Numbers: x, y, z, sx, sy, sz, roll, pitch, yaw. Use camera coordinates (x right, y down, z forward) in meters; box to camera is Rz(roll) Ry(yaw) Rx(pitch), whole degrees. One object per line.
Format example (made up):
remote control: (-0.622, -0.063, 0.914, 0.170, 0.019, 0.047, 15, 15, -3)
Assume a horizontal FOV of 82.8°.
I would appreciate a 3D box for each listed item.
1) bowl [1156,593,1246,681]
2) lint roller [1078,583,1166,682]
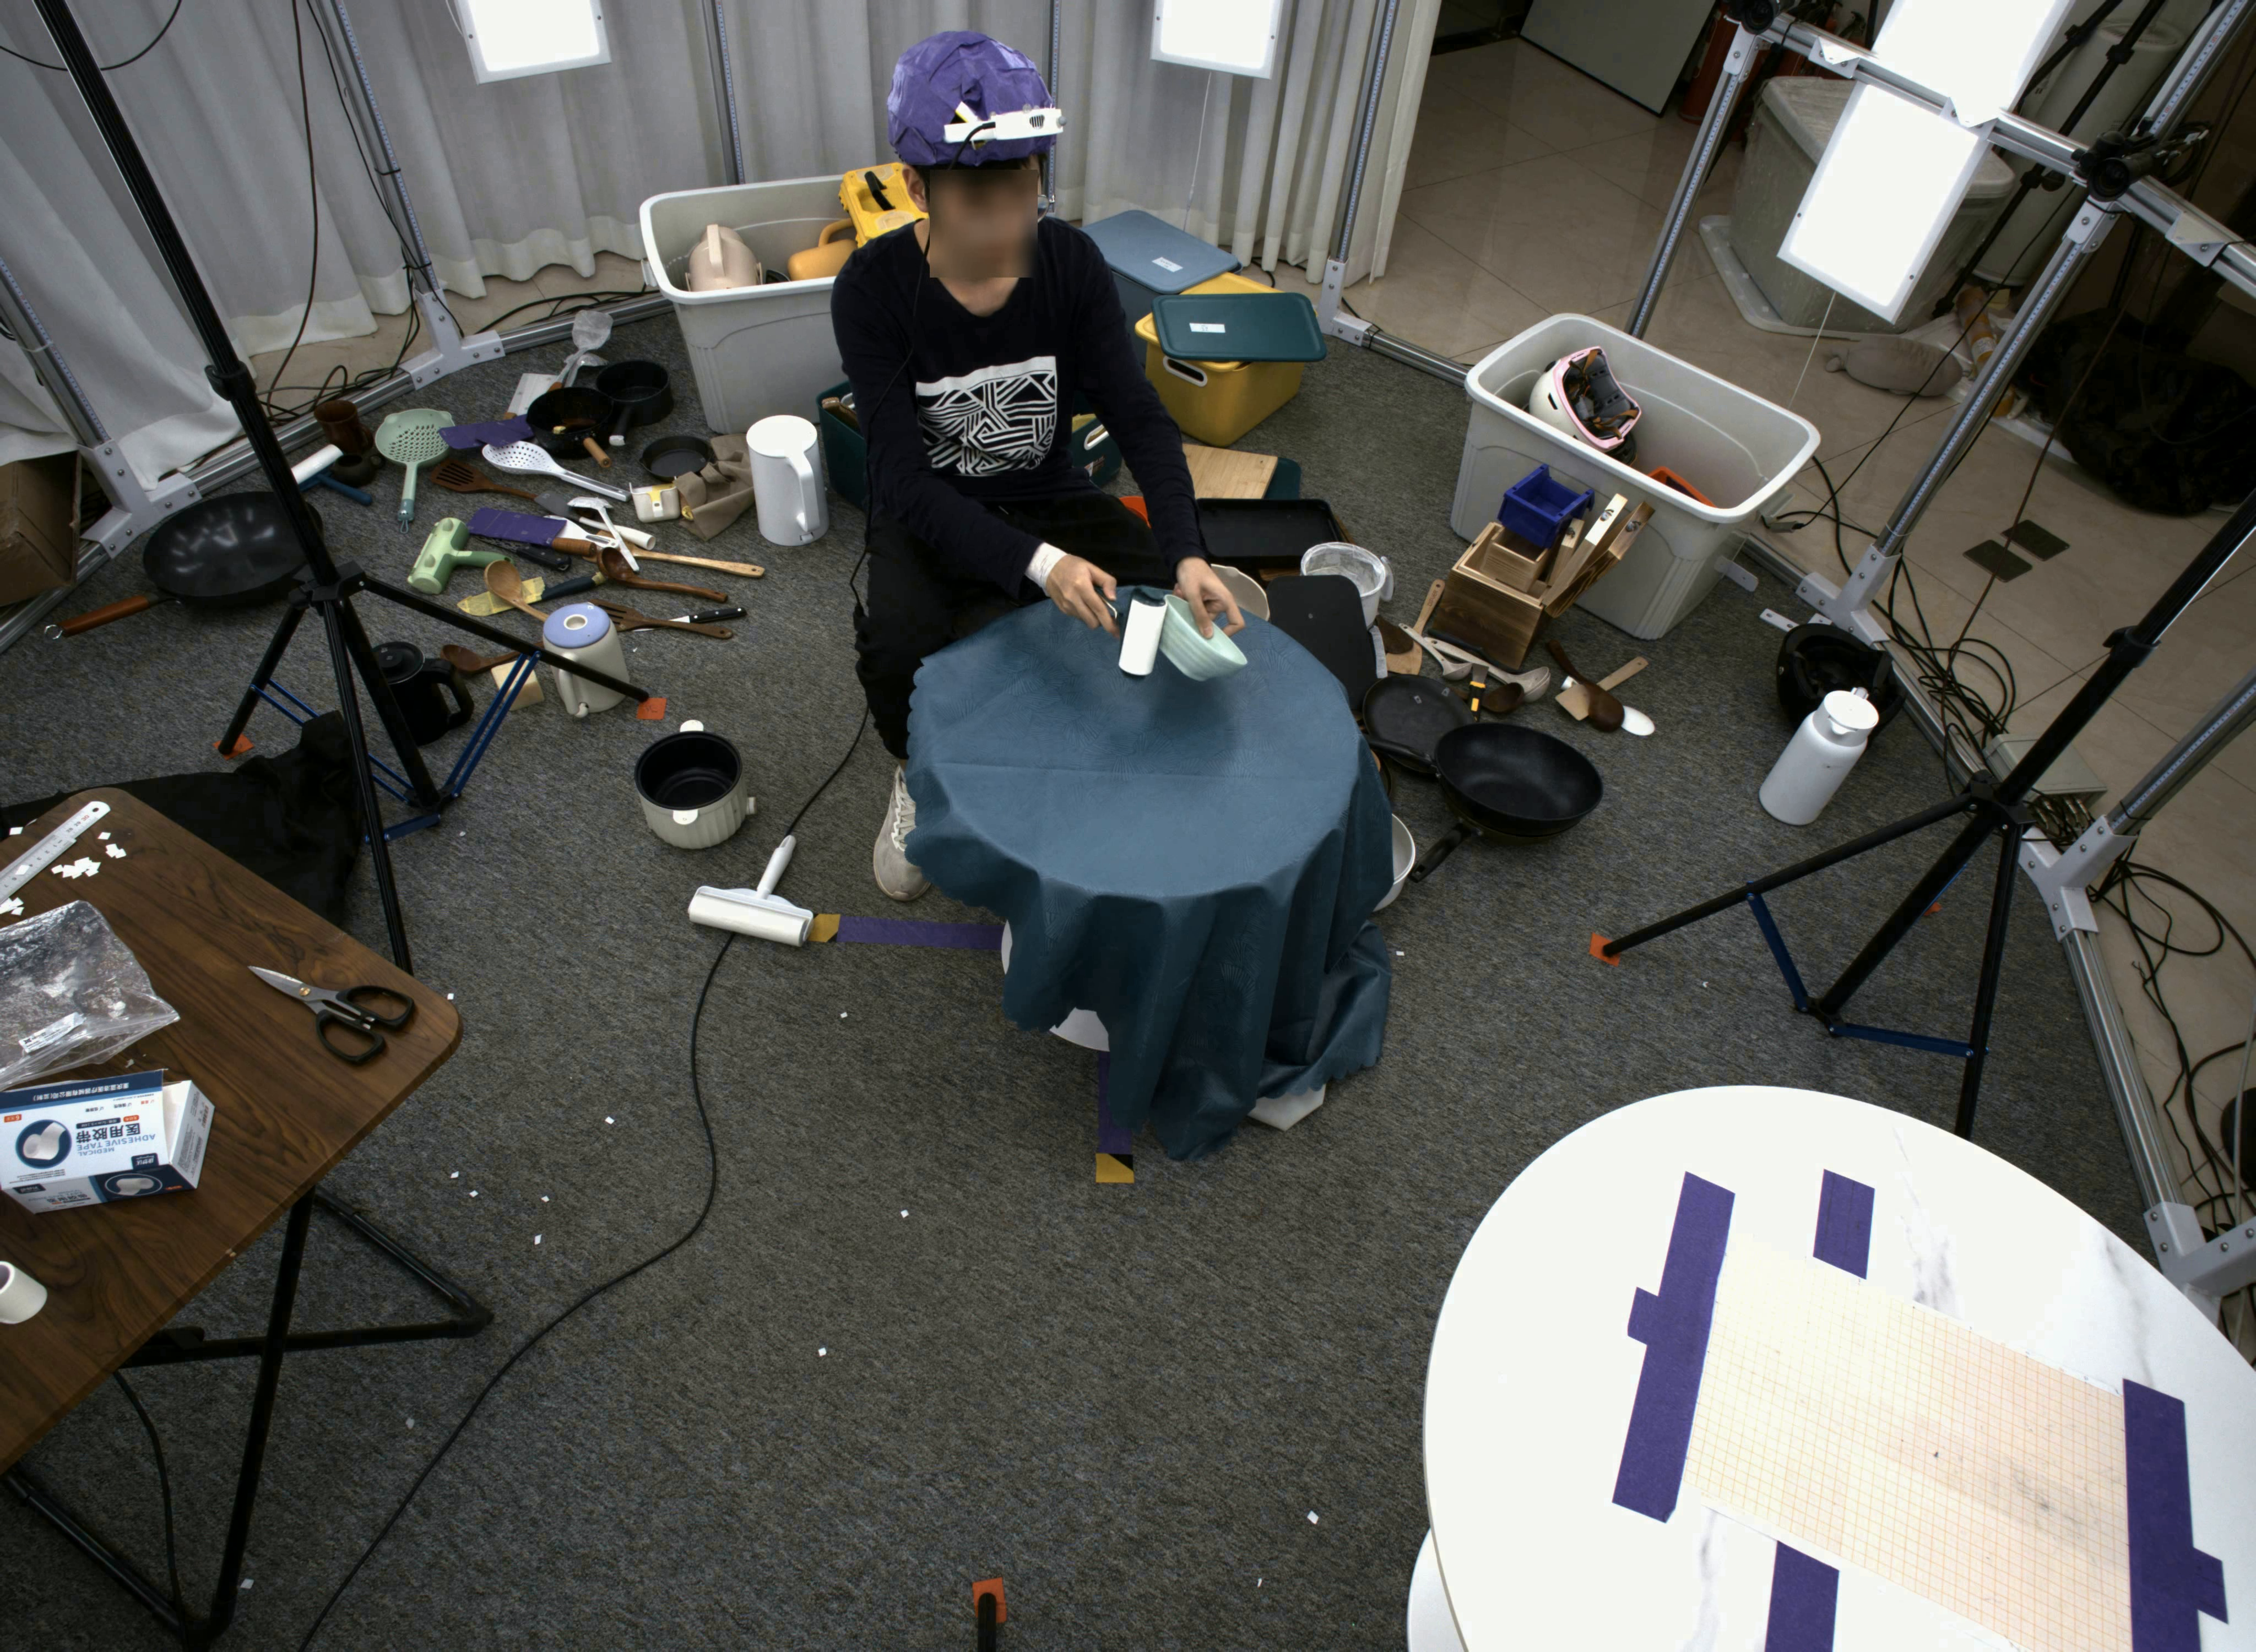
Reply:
bowl: (0.088, -0.250, 1.762, 0.150, 0.058, 0.154, 36, 23, -19)
lint roller: (-0.025, -0.289, 1.760, 0.048, 0.132, 0.183, -15, 39, -41)
